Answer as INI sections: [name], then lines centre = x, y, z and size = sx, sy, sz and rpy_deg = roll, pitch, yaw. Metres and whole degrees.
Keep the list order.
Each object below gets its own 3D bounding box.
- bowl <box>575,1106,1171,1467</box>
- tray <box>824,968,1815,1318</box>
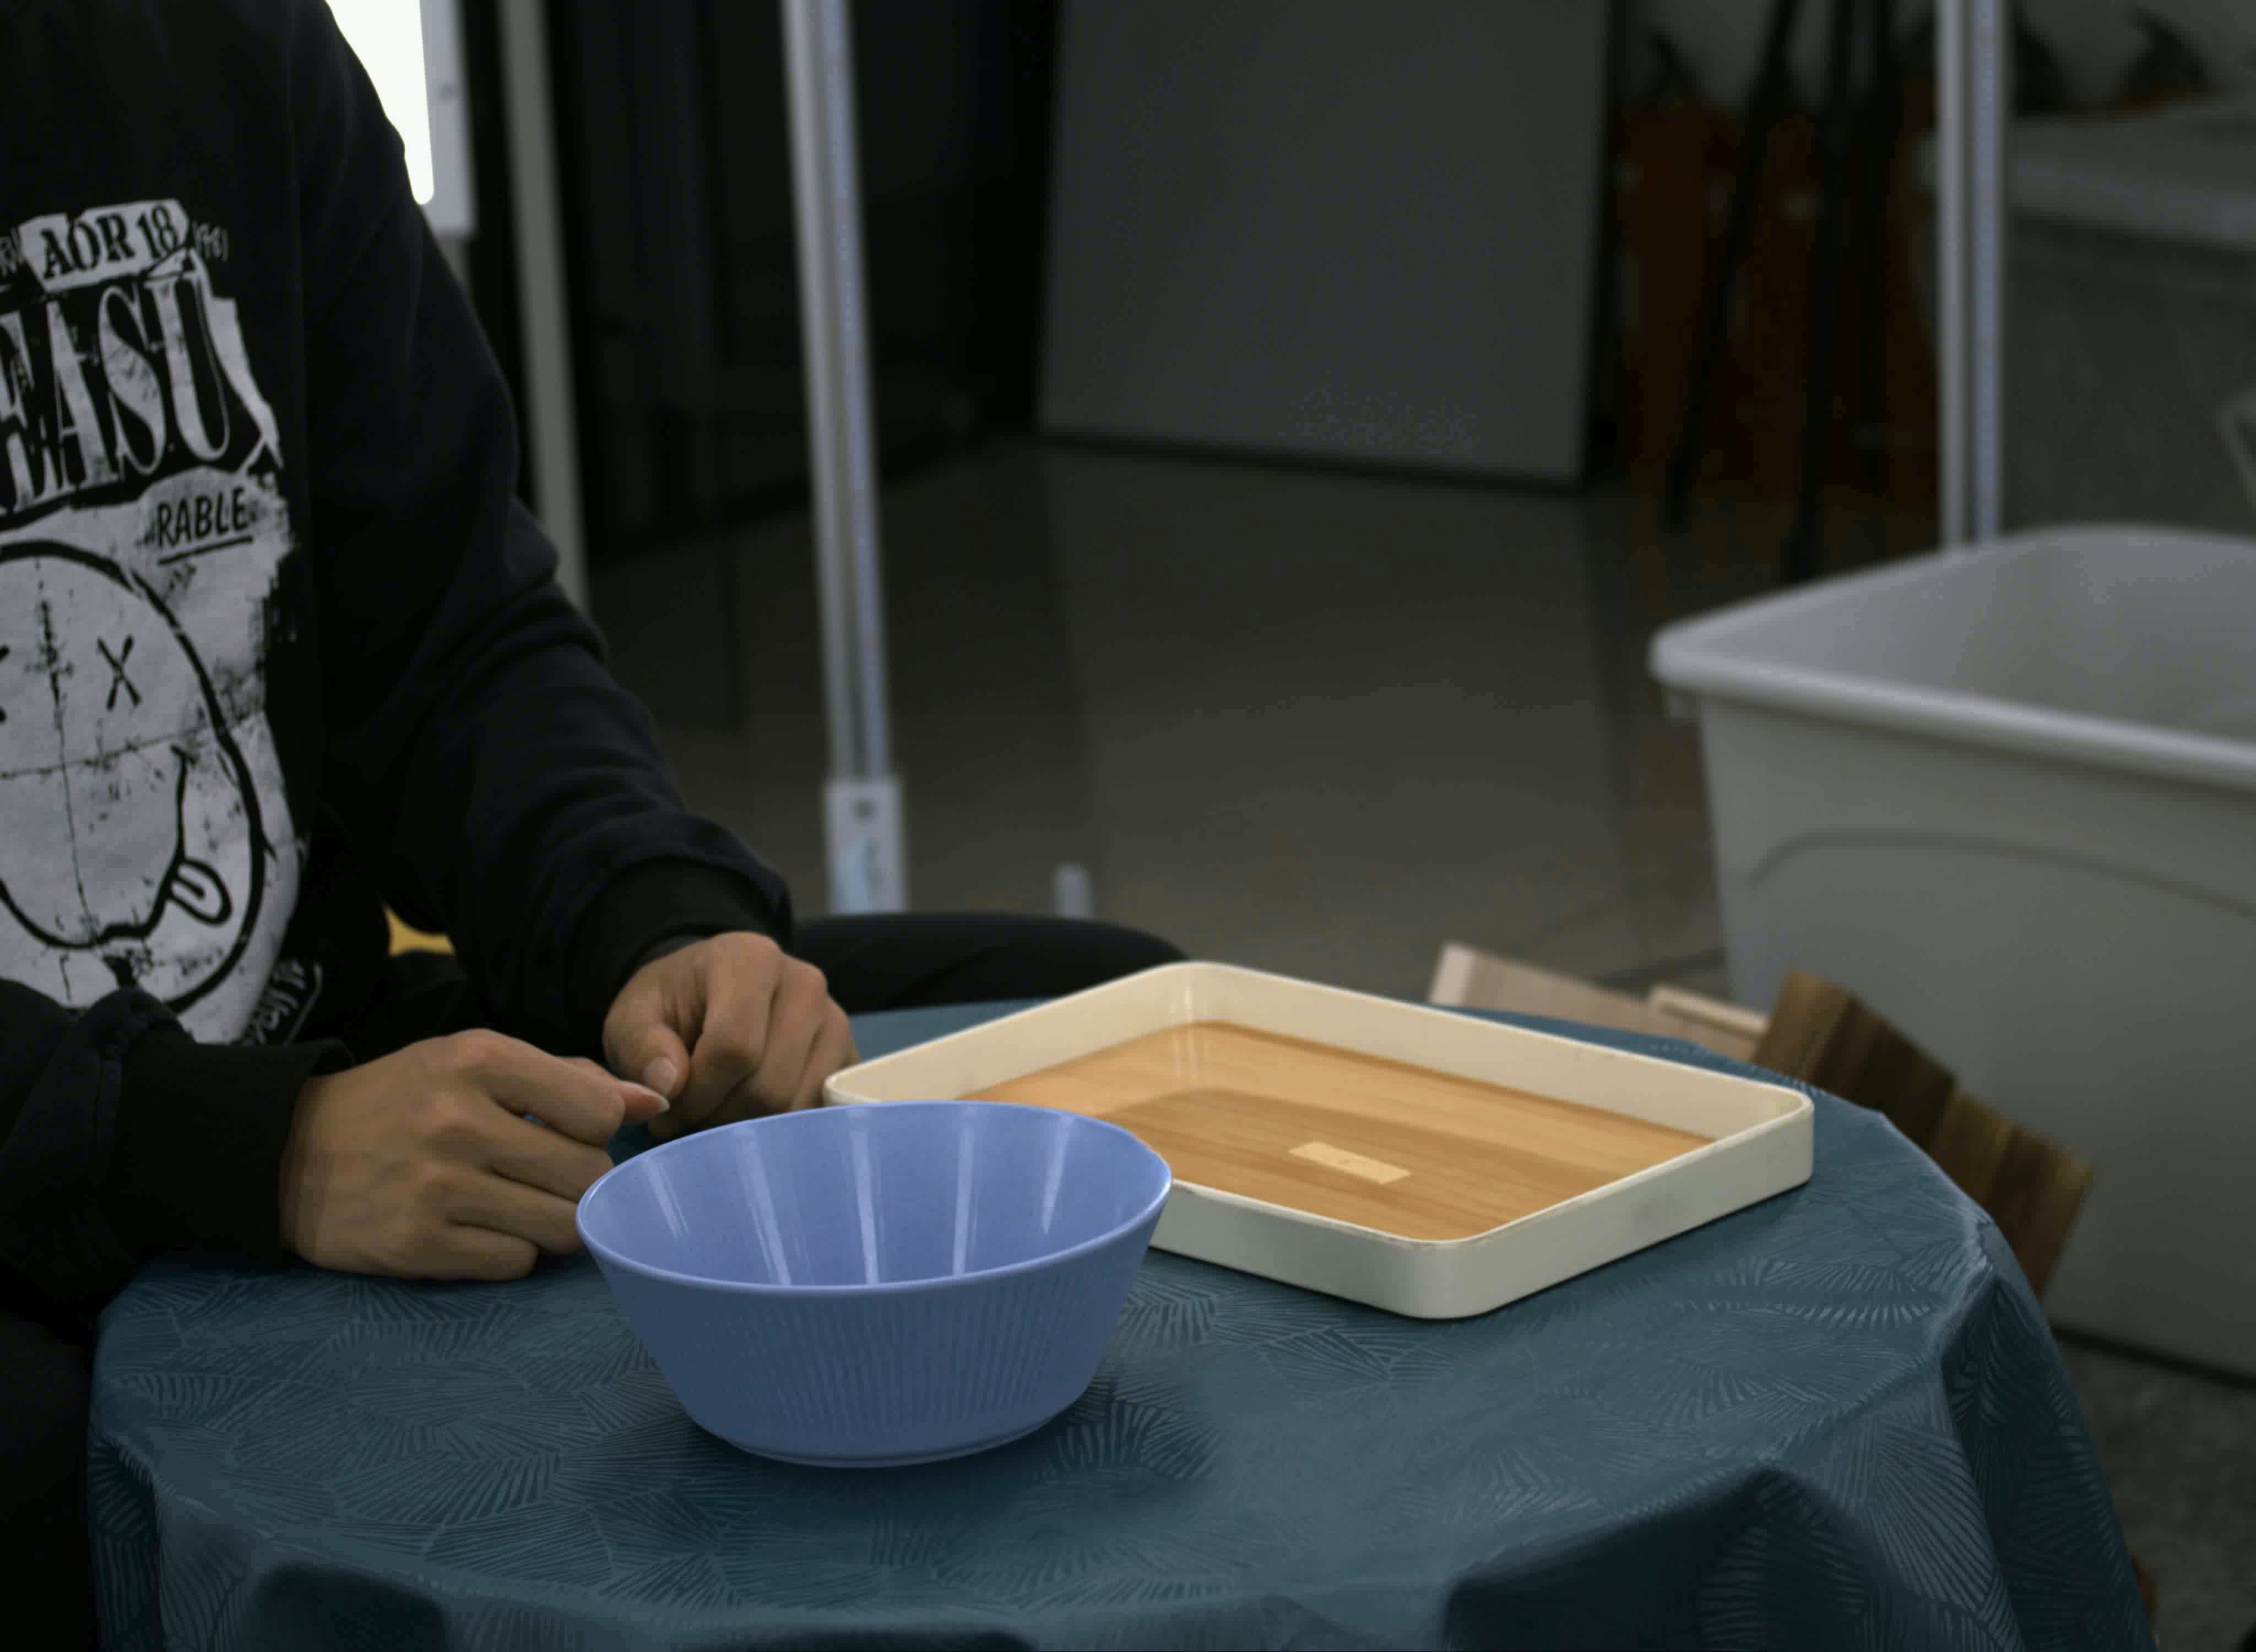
[bowl]
centre = -0.073, 0.137, 1.580
size = 0.174, 0.071, 0.176
rpy_deg = -3, 13, 0
[tray]
centre = 0.060, 0.101, 1.781
size = 0.187, 0.028, 0.303
rpy_deg = -16, 18, -41
